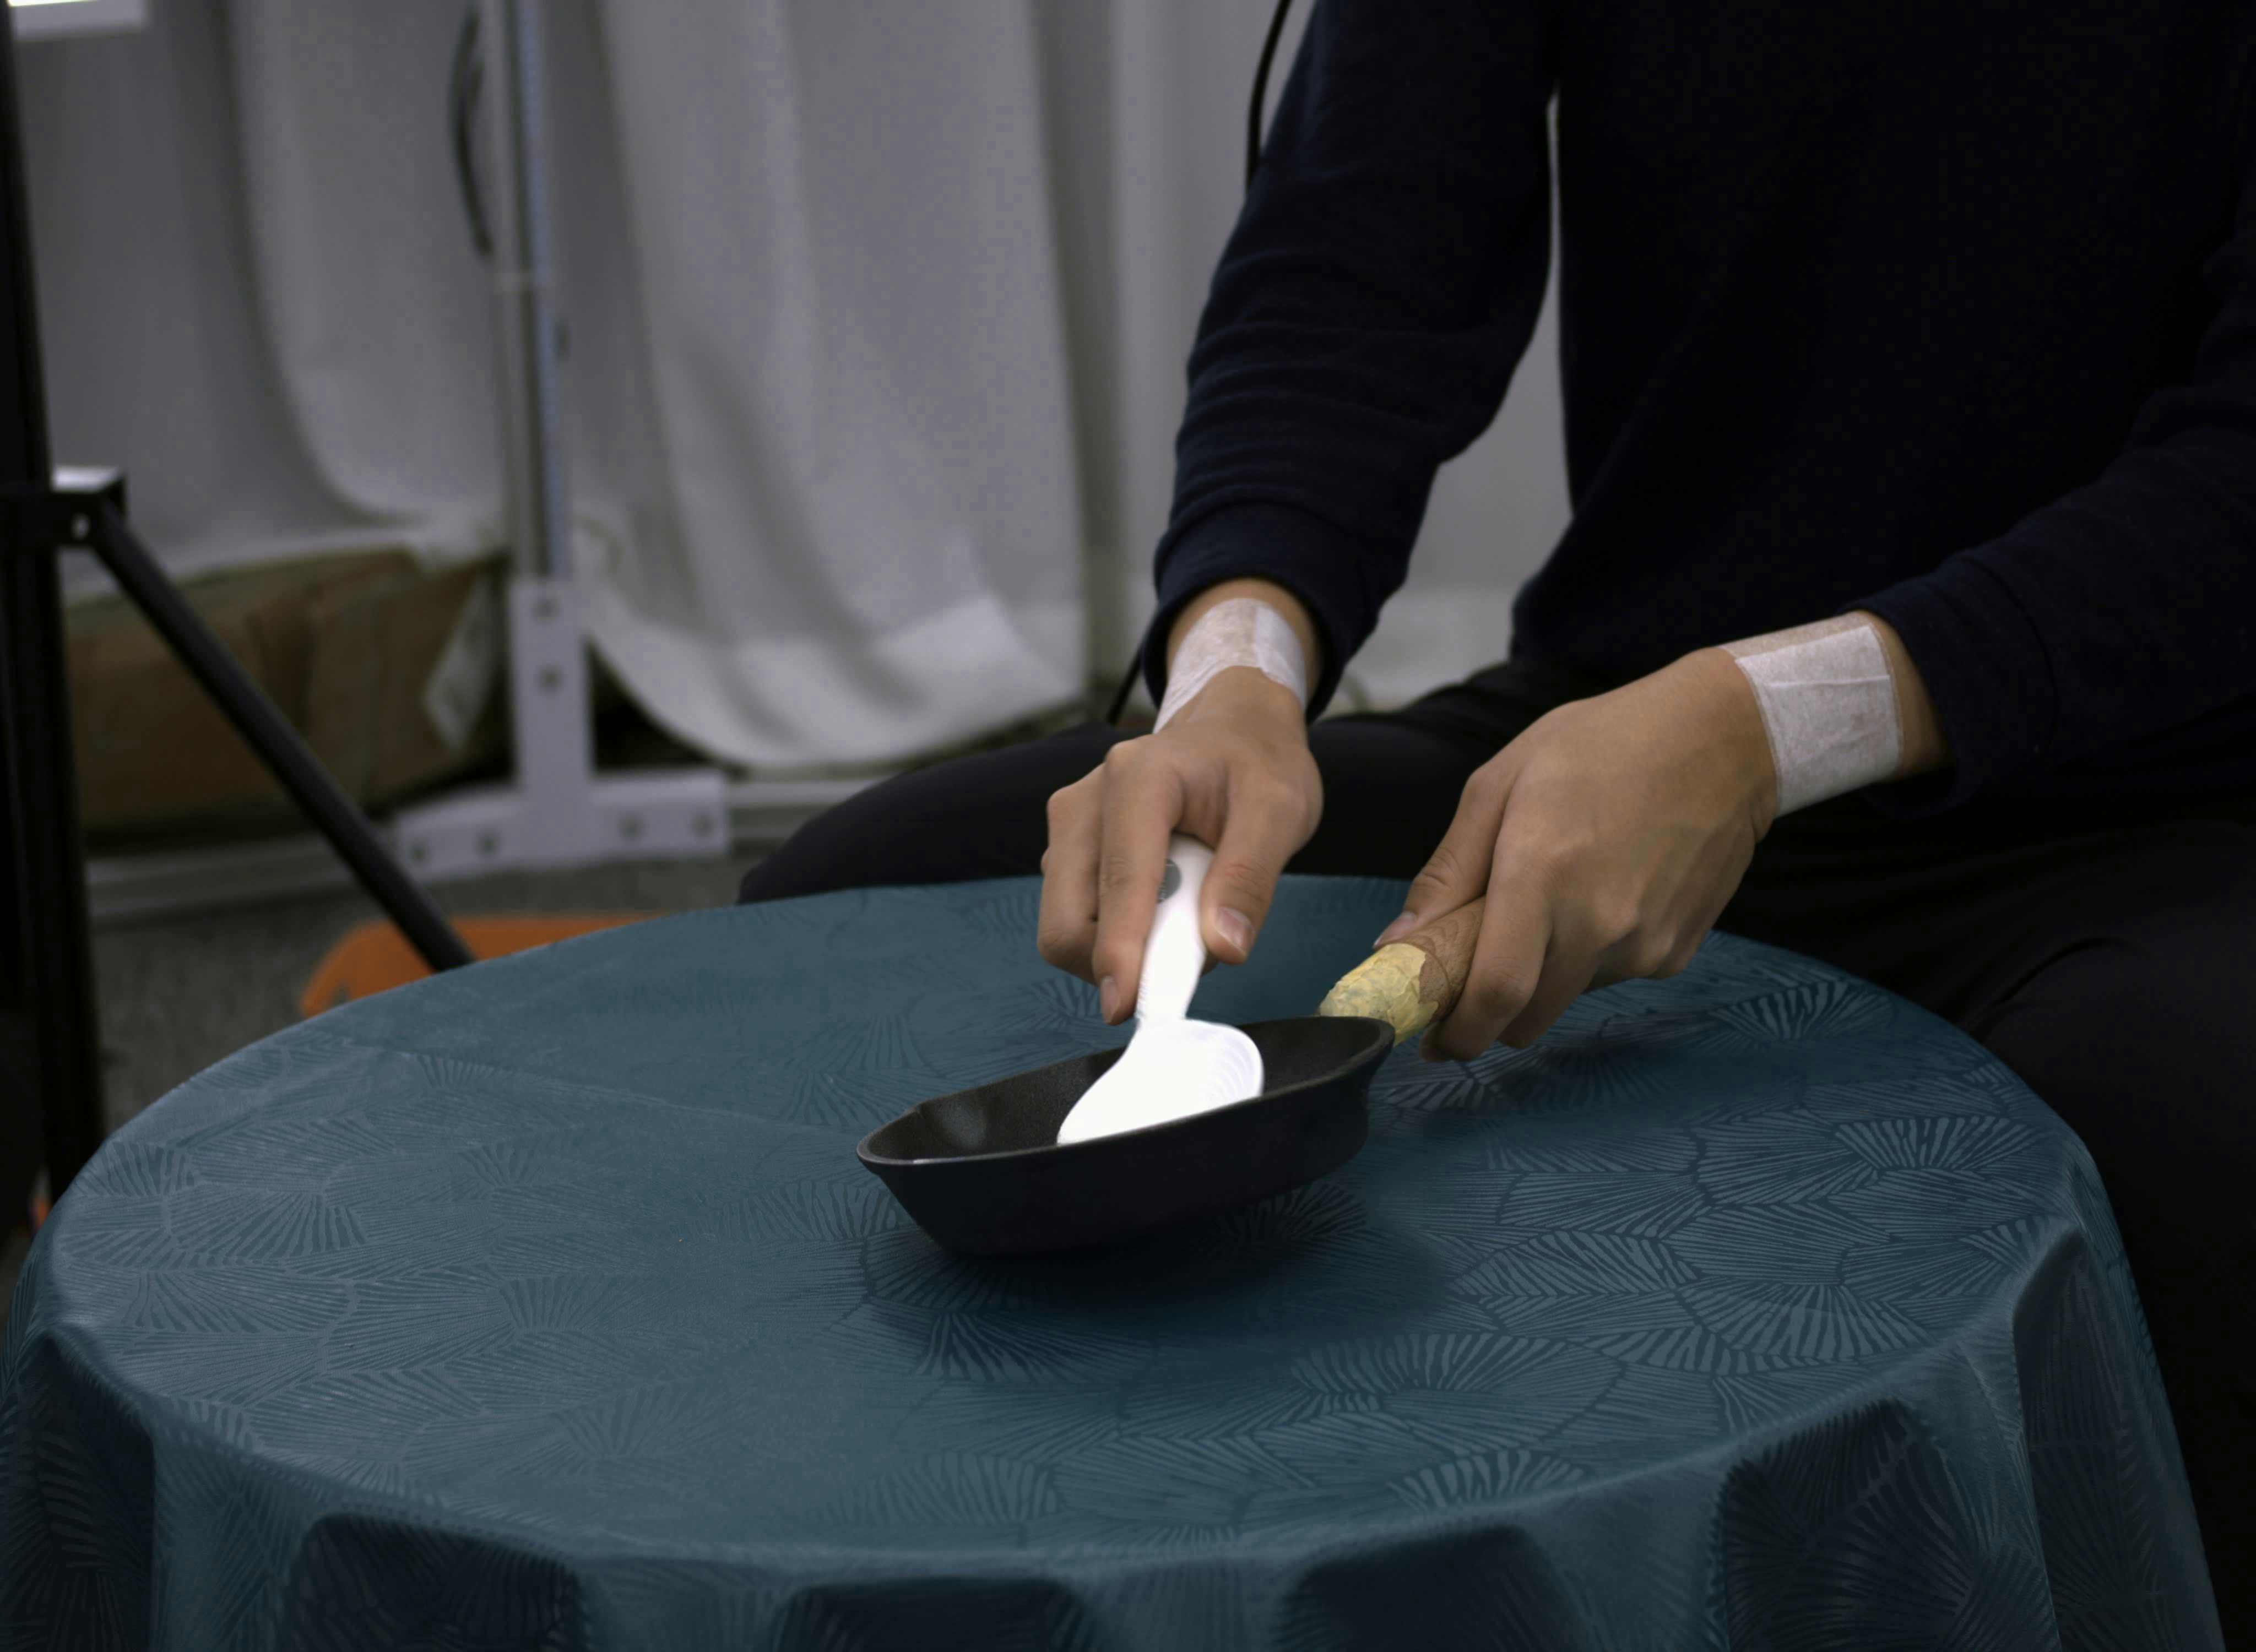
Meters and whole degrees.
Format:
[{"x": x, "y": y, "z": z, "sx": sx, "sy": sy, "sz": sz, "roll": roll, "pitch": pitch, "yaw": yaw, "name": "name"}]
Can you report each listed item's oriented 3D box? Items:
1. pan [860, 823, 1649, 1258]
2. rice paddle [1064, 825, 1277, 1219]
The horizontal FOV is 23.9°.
[{"x": 0.059, "y": 0.062, "z": 1.567, "sx": 0.317, "sy": 0.049, "sz": 0.172, "roll": -21, "pitch": 11, "yaw": -42, "name": "pan"}, {"x": 0.013, "y": 0.057, "z": 1.542, "sx": 0.069, "sy": 0.029, "sz": 0.206, "roll": -23, "pitch": 23, "yaw": 13, "name": "rice paddle"}]
